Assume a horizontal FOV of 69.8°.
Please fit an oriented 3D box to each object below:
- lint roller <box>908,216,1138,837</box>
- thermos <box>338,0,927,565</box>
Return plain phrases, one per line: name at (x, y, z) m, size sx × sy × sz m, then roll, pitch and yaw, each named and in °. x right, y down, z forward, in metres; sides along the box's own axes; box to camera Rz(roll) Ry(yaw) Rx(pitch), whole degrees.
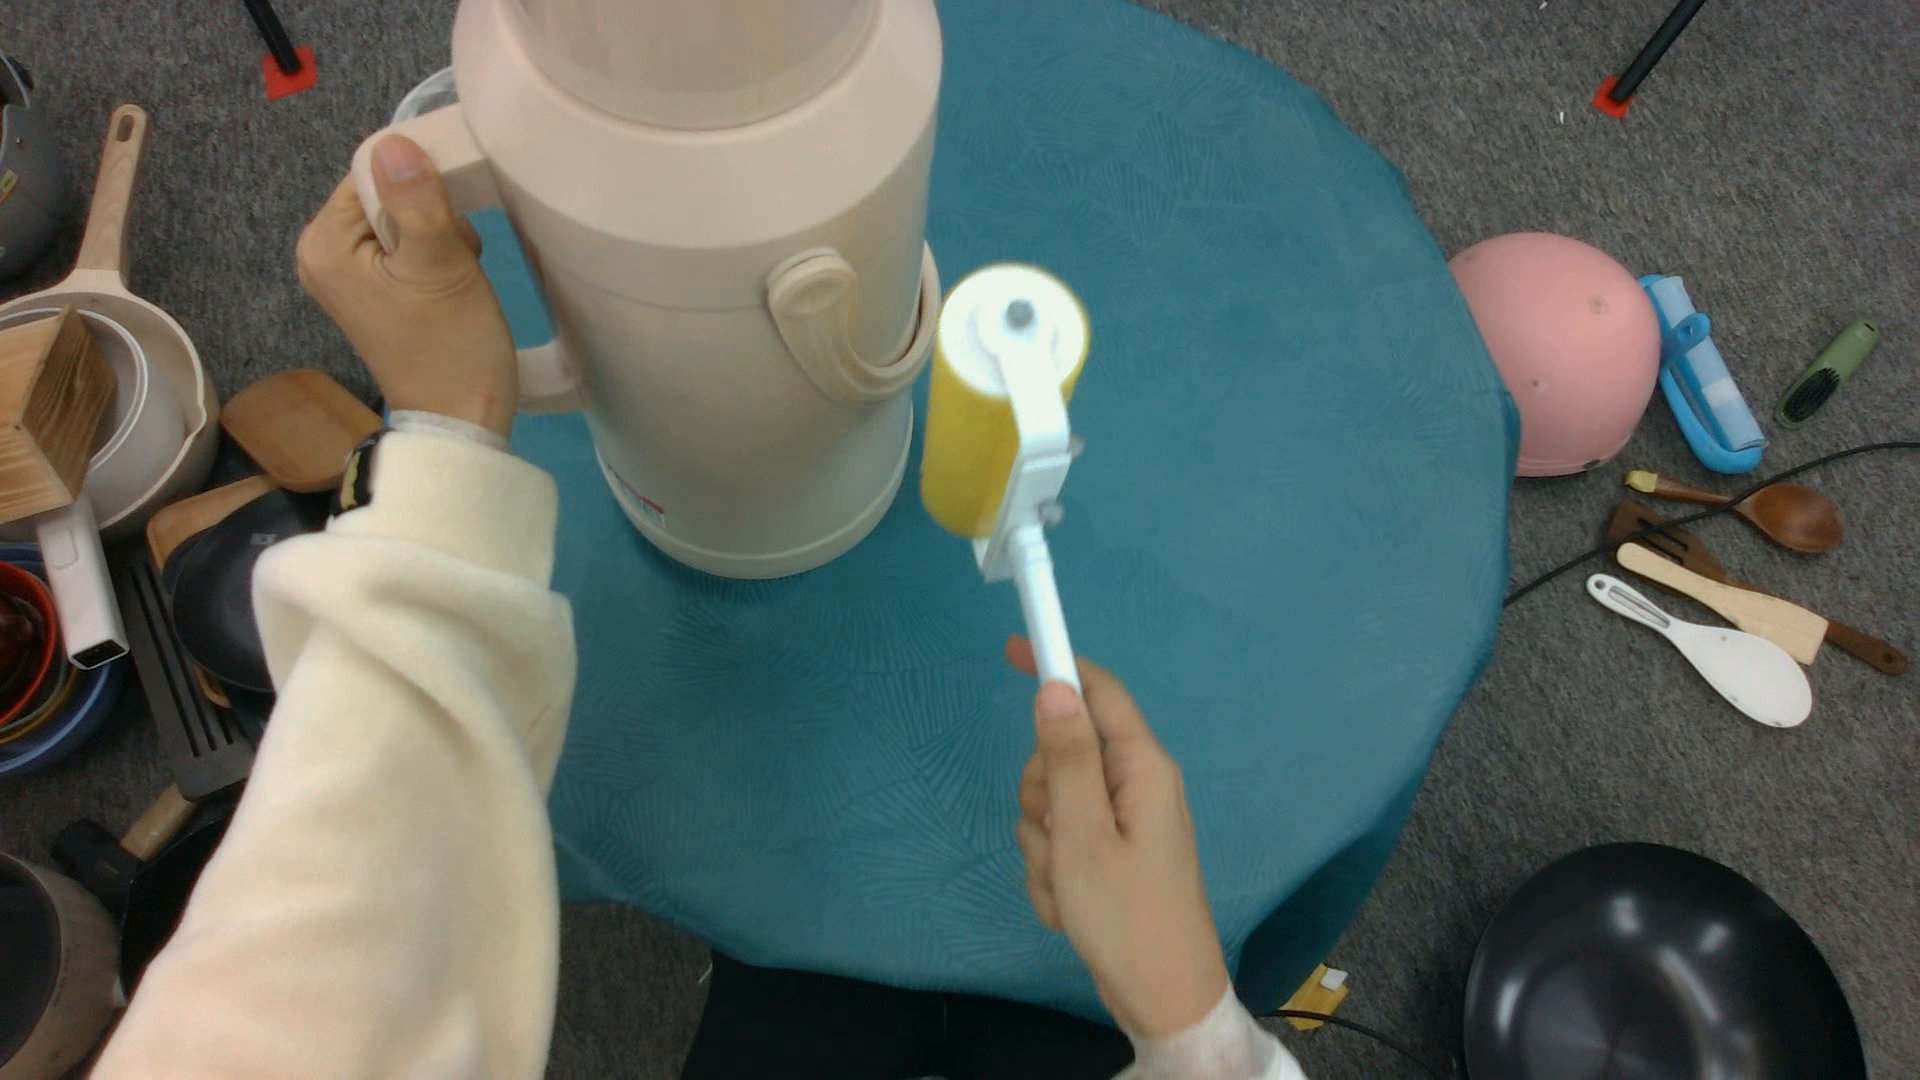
lint roller at (0.035, 0.006, 0.486) m, size 0.051 × 0.174 × 0.192 m, roll -23°, pitch 79°, yaw -10°
thermos at (-0.110, -0.127, 0.536) m, size 0.207 × 0.405 × 0.175 m, roll -25°, pitch 73°, yaw -14°
